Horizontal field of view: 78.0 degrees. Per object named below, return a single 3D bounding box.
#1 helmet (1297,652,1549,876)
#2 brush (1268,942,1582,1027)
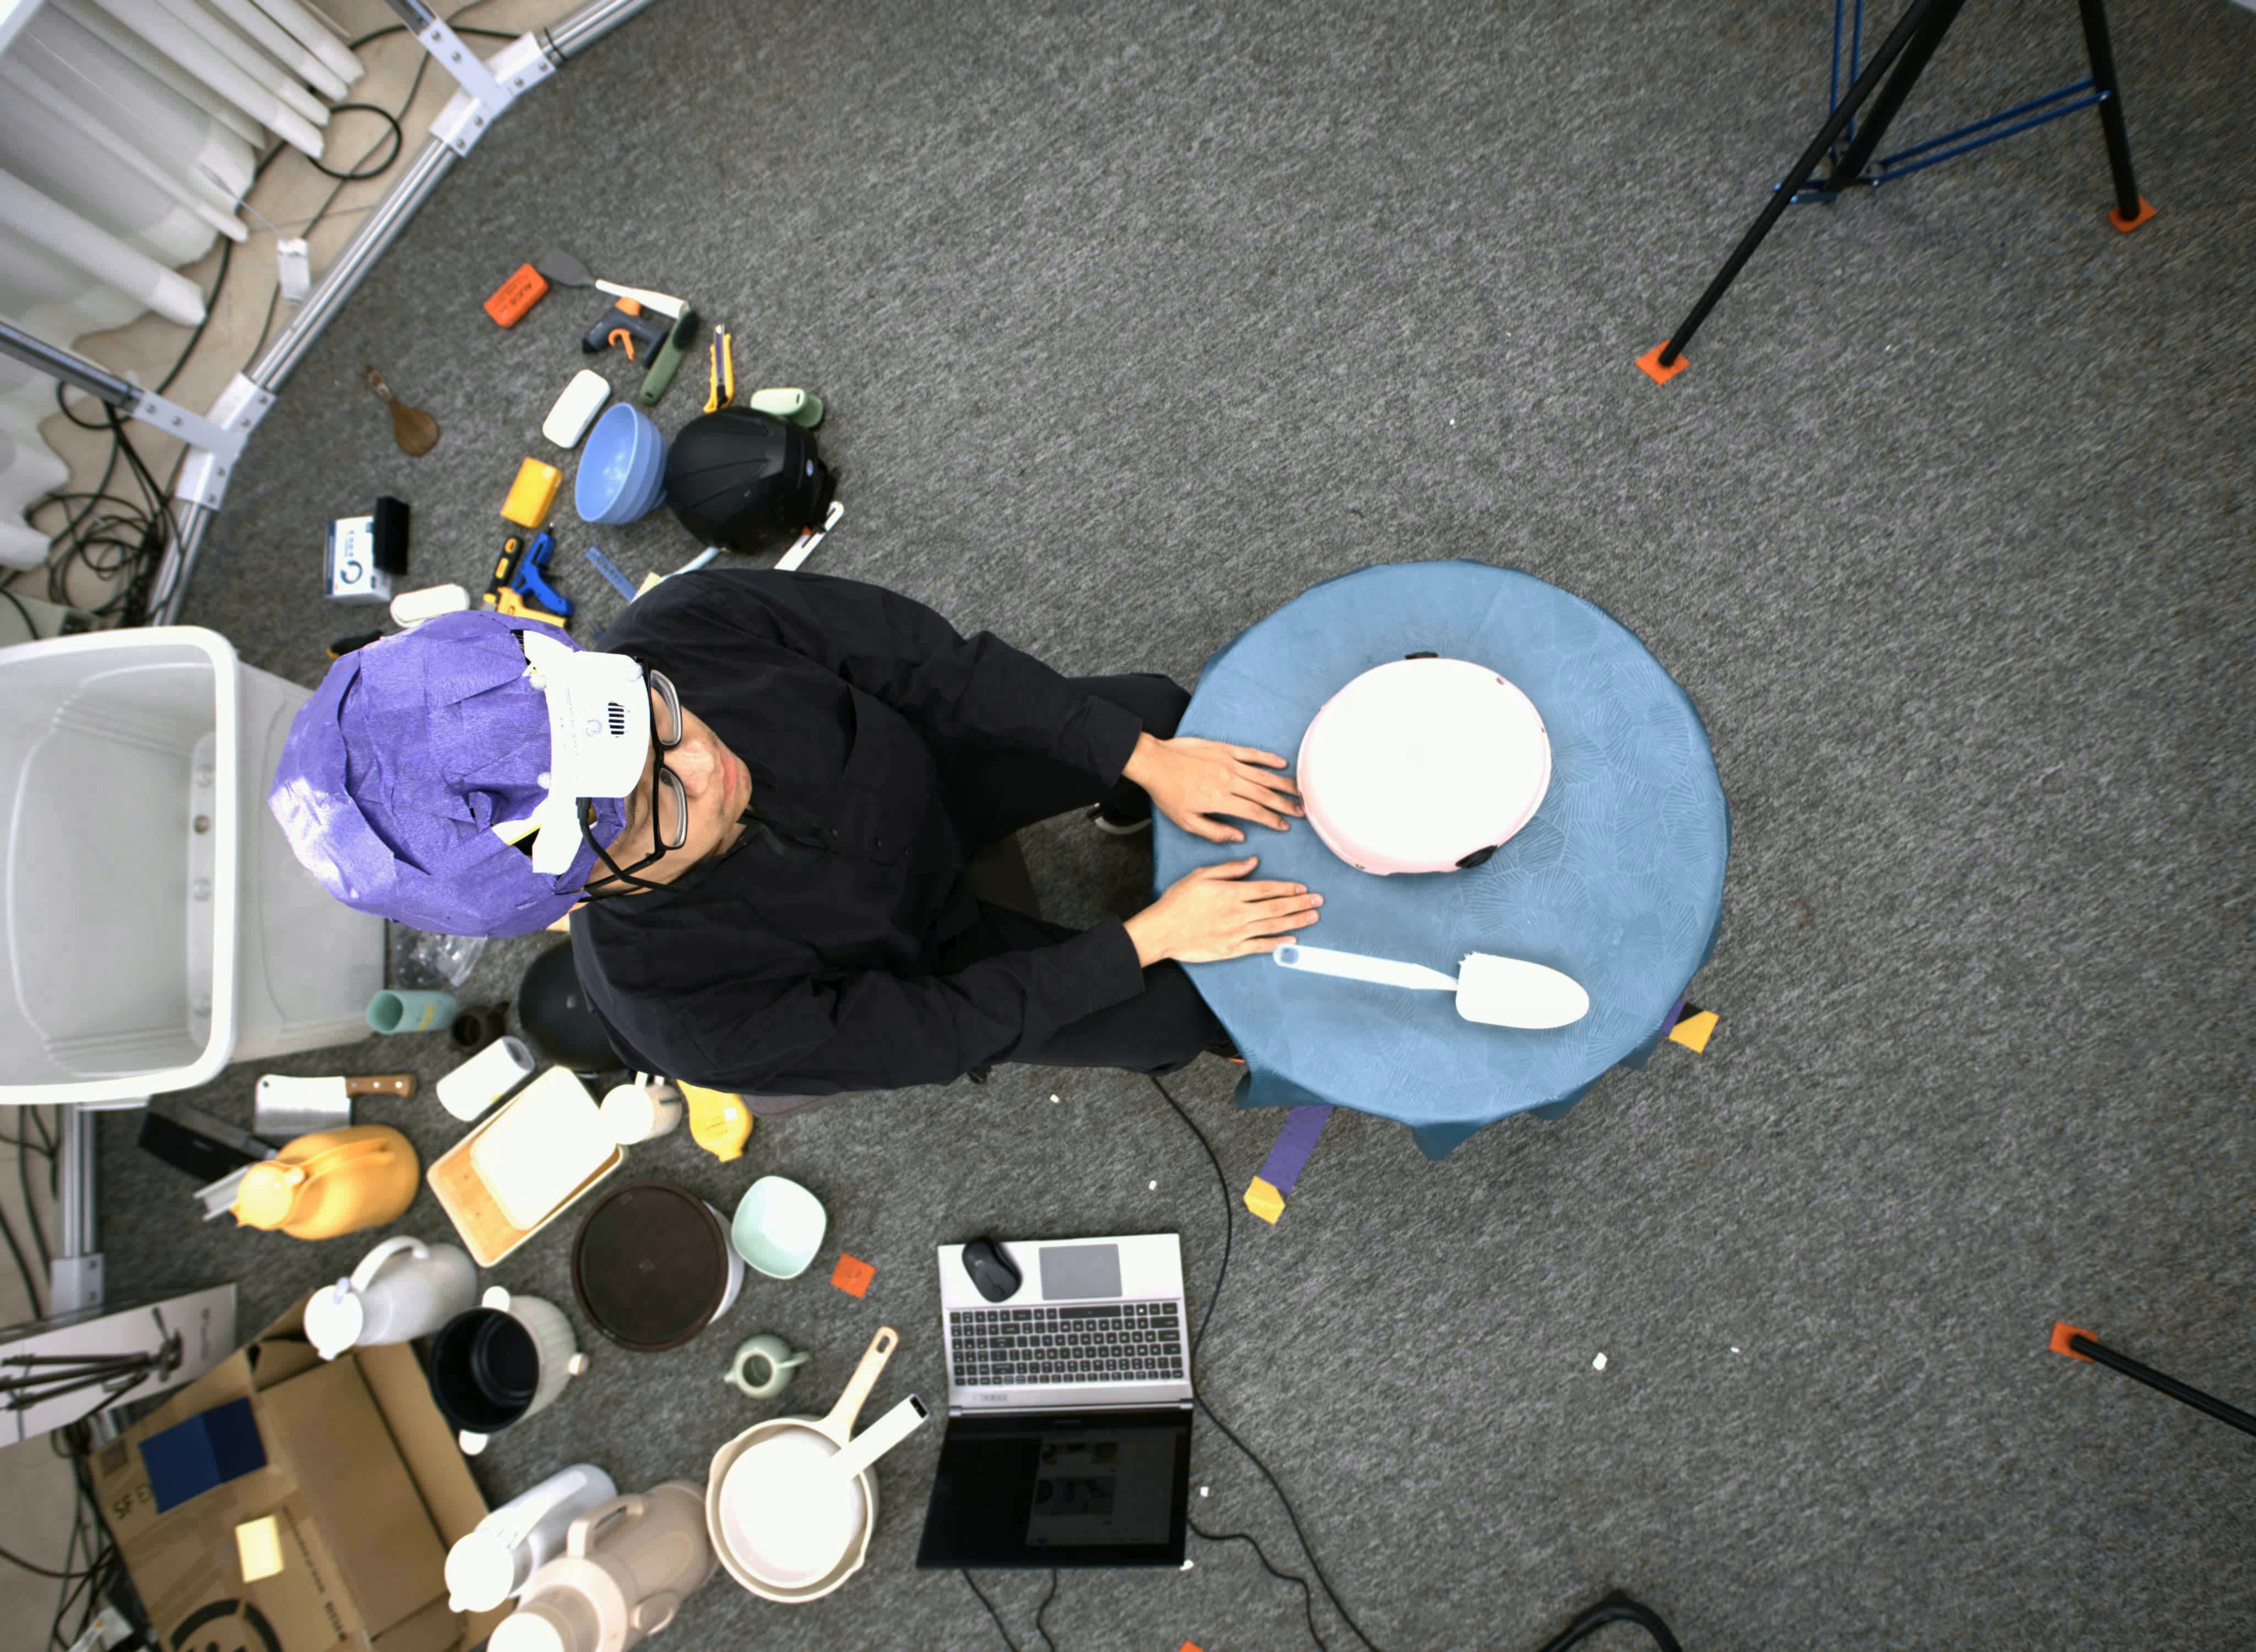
[{"bbox_3d":[0.304,-0.071,1.384,0.267,0.159,0.232,-15,83,5],"label":"helmet"},{"bbox_3d":[0.299,0.148,1.406,0.326,0.087,0.081,9,50,-1],"label":"brush"}]
